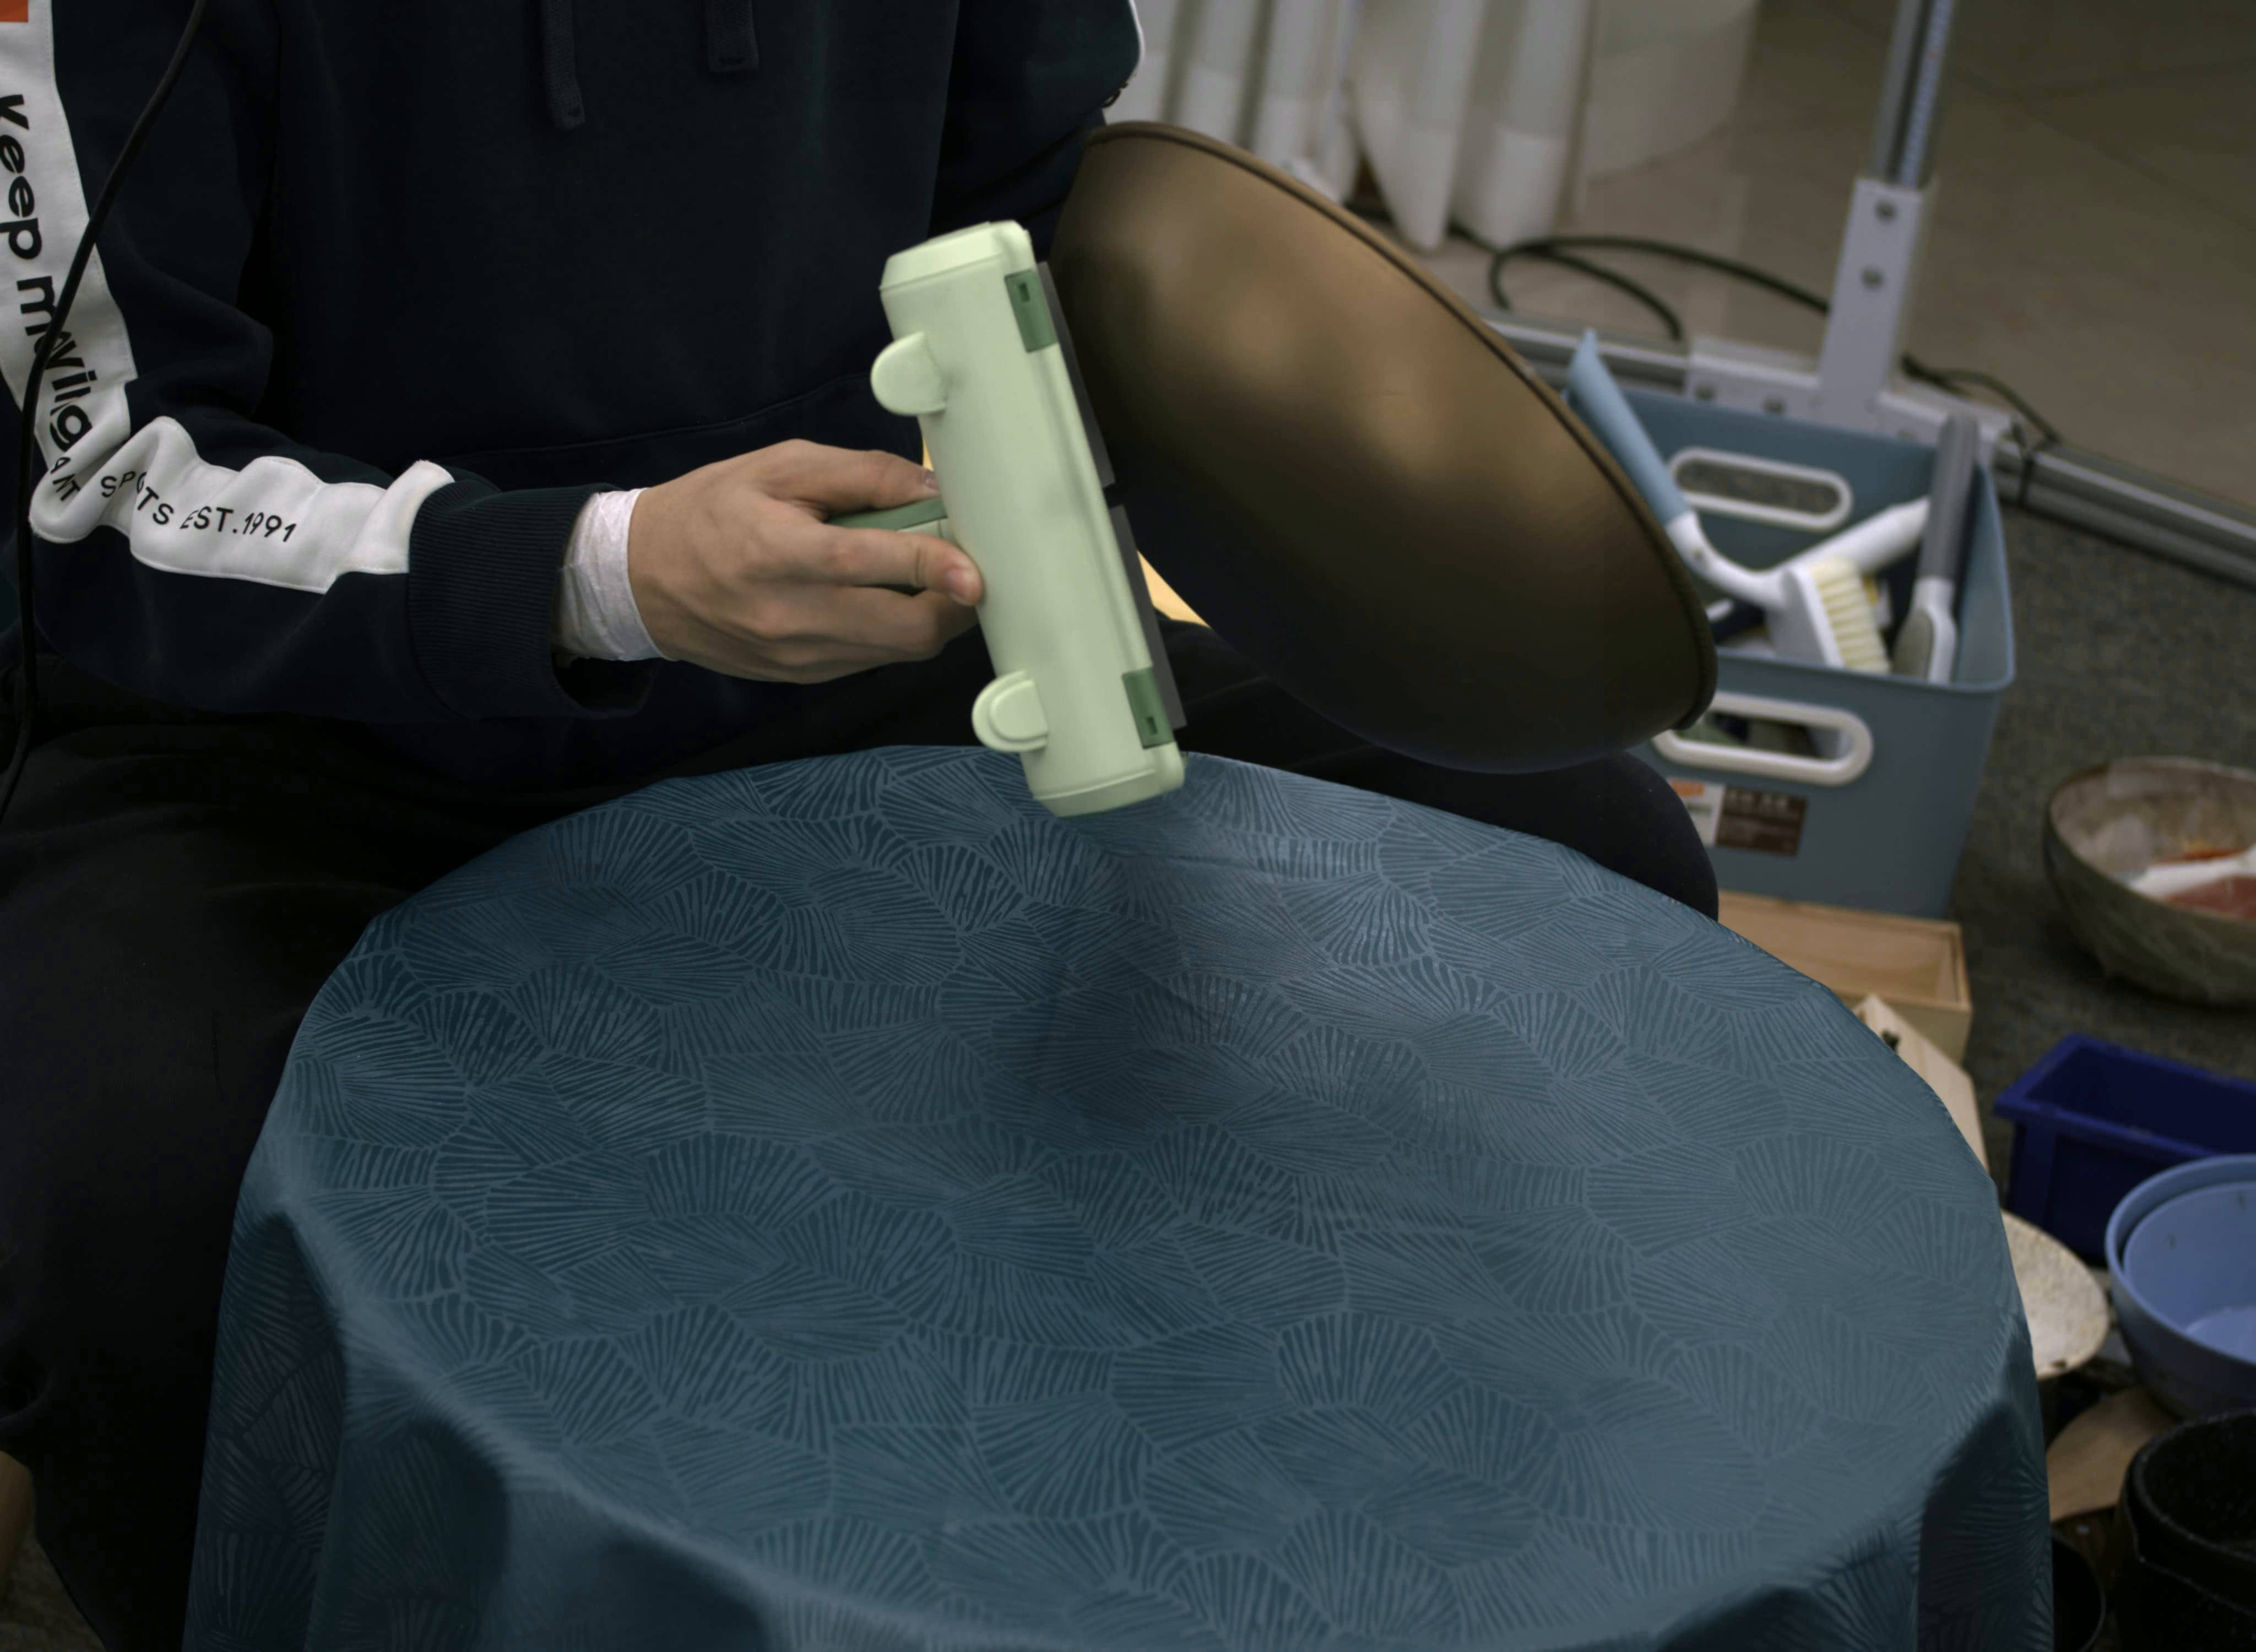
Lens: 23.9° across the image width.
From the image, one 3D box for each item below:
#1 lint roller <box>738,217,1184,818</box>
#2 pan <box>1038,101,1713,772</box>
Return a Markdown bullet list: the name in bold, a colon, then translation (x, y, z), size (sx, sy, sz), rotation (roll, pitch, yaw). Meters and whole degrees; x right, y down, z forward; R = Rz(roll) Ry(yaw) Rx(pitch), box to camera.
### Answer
- **lint roller**: translation (-0.079, -0.091, 1.786), size (0.184, 0.198, 0.082), rotation (-12, 8, 37)
- **pan**: translation (0.045, -0.102, 1.879), size (0.288, 0.087, 0.464), rotation (45, -13, -4)
